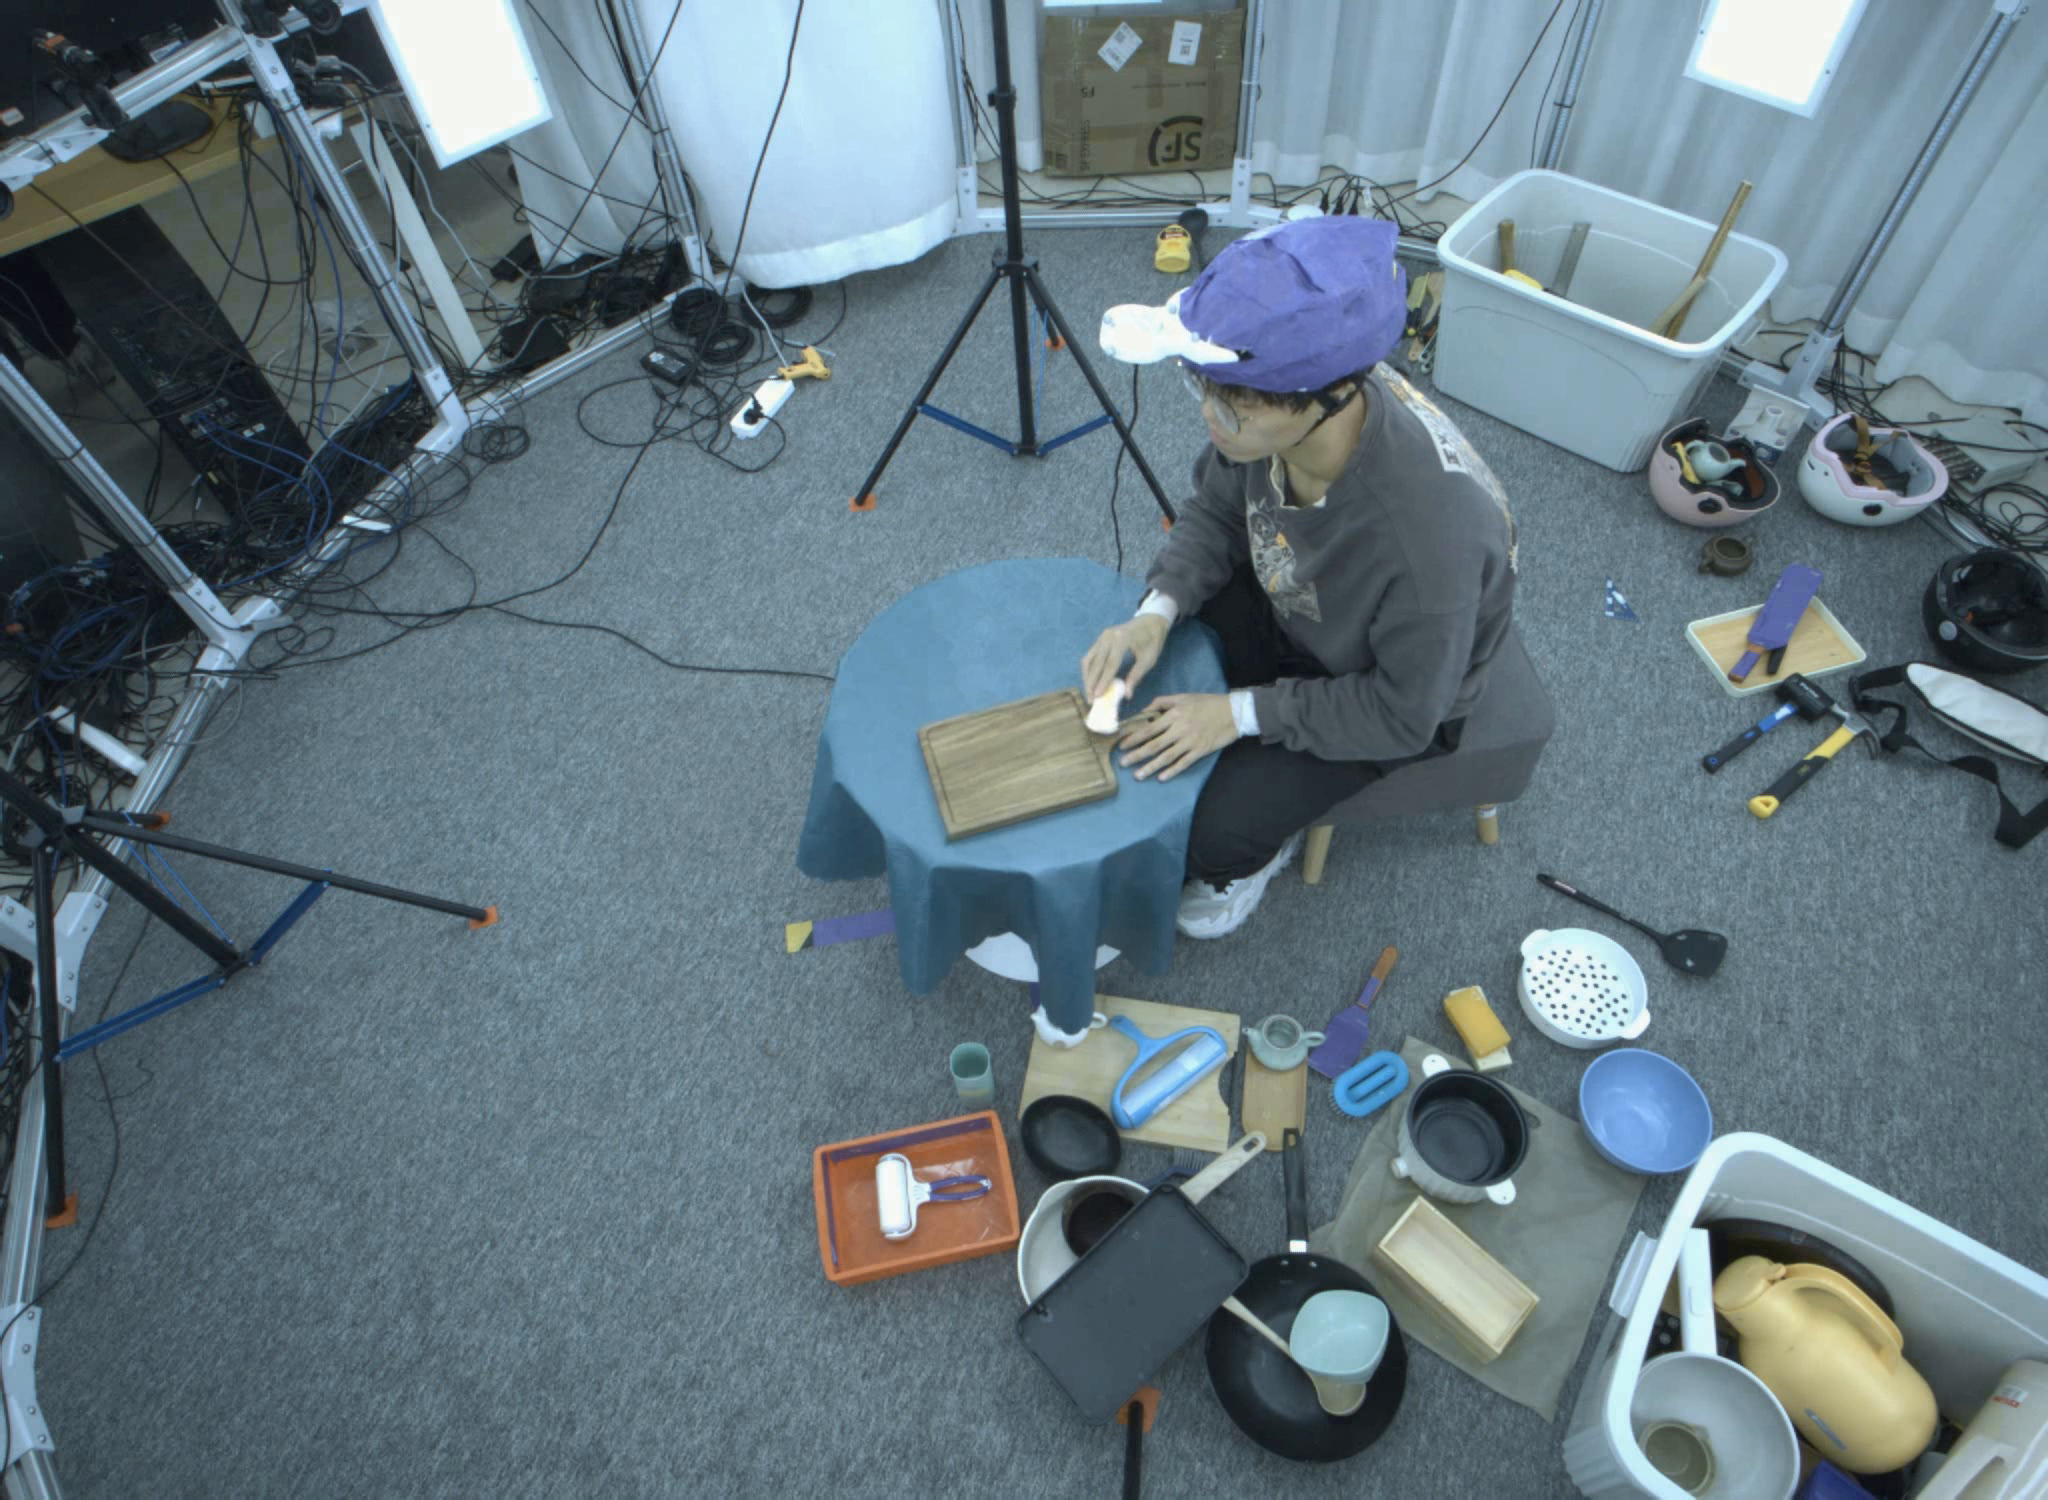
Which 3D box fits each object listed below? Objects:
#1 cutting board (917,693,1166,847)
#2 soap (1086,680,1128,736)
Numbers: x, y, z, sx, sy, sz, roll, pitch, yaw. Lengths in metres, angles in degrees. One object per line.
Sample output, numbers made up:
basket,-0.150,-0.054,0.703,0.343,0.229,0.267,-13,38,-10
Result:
cutting board,0.036,0.012,1.762,0.354,0.023,0.198,-14,55,-8
soap,0.120,-0.061,1.779,0.050,0.031,0.094,9,58,8
